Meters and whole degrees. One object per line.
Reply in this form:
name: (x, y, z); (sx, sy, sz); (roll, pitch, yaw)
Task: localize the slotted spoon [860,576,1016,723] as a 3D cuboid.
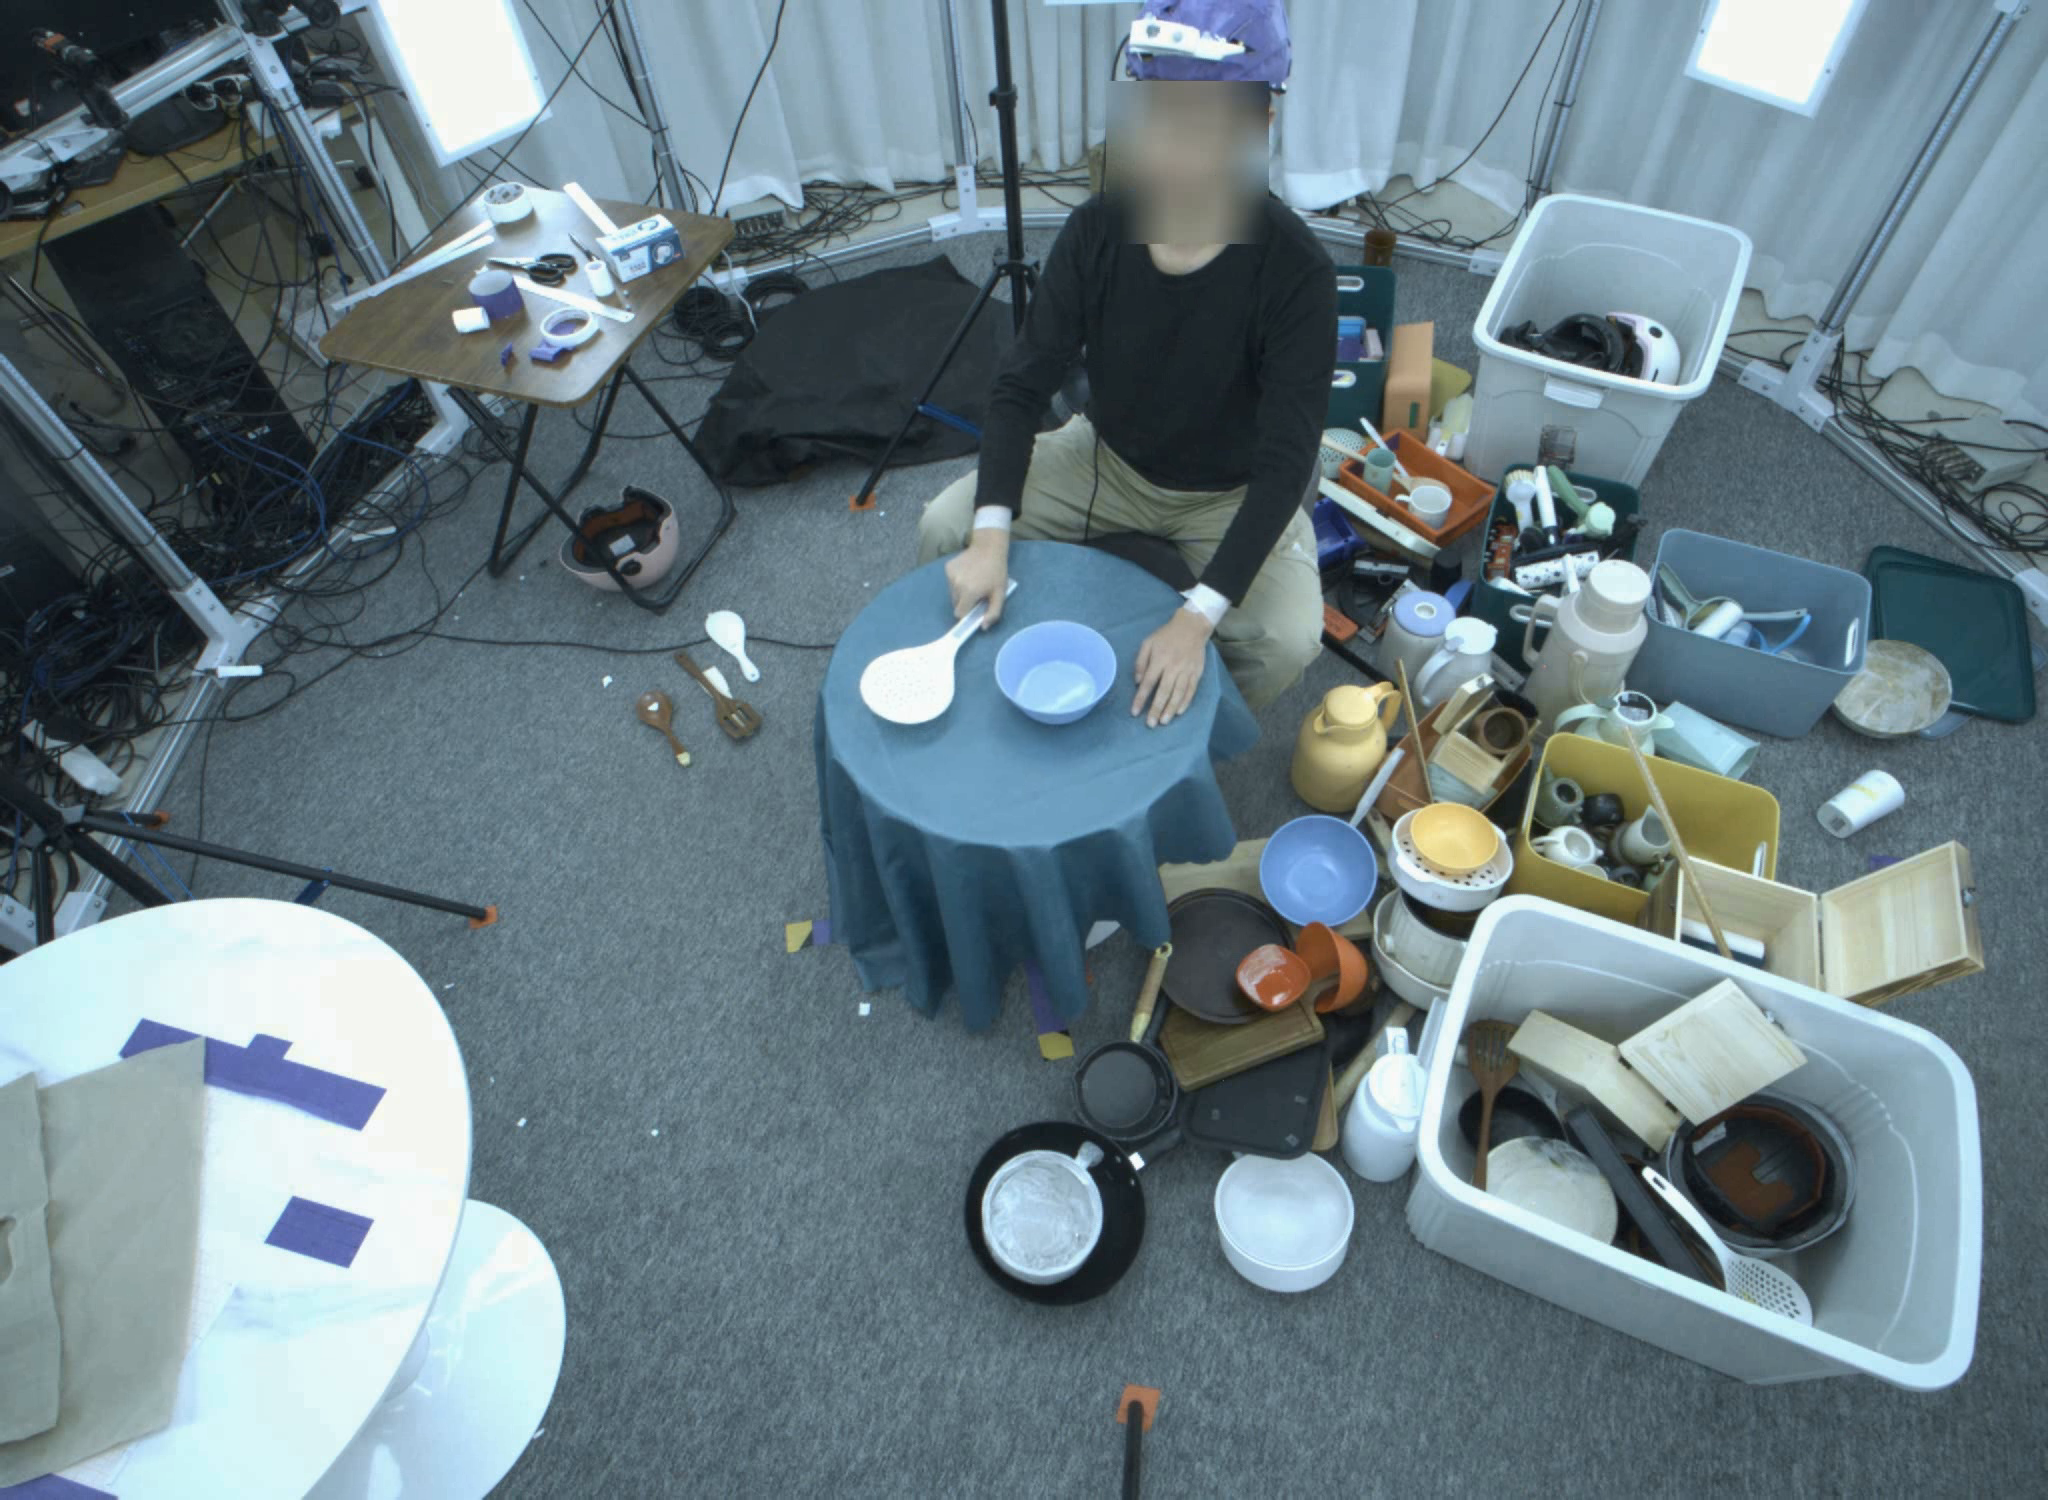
slotted spoon: (-0.117, -0.160, 1.876); (0.135, 0.046, 0.351); (31, 60, 12)

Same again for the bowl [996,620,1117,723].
bowl: (0.049, -0.105, 1.817); (0.176, 0.071, 0.174); (0, 54, 1)
